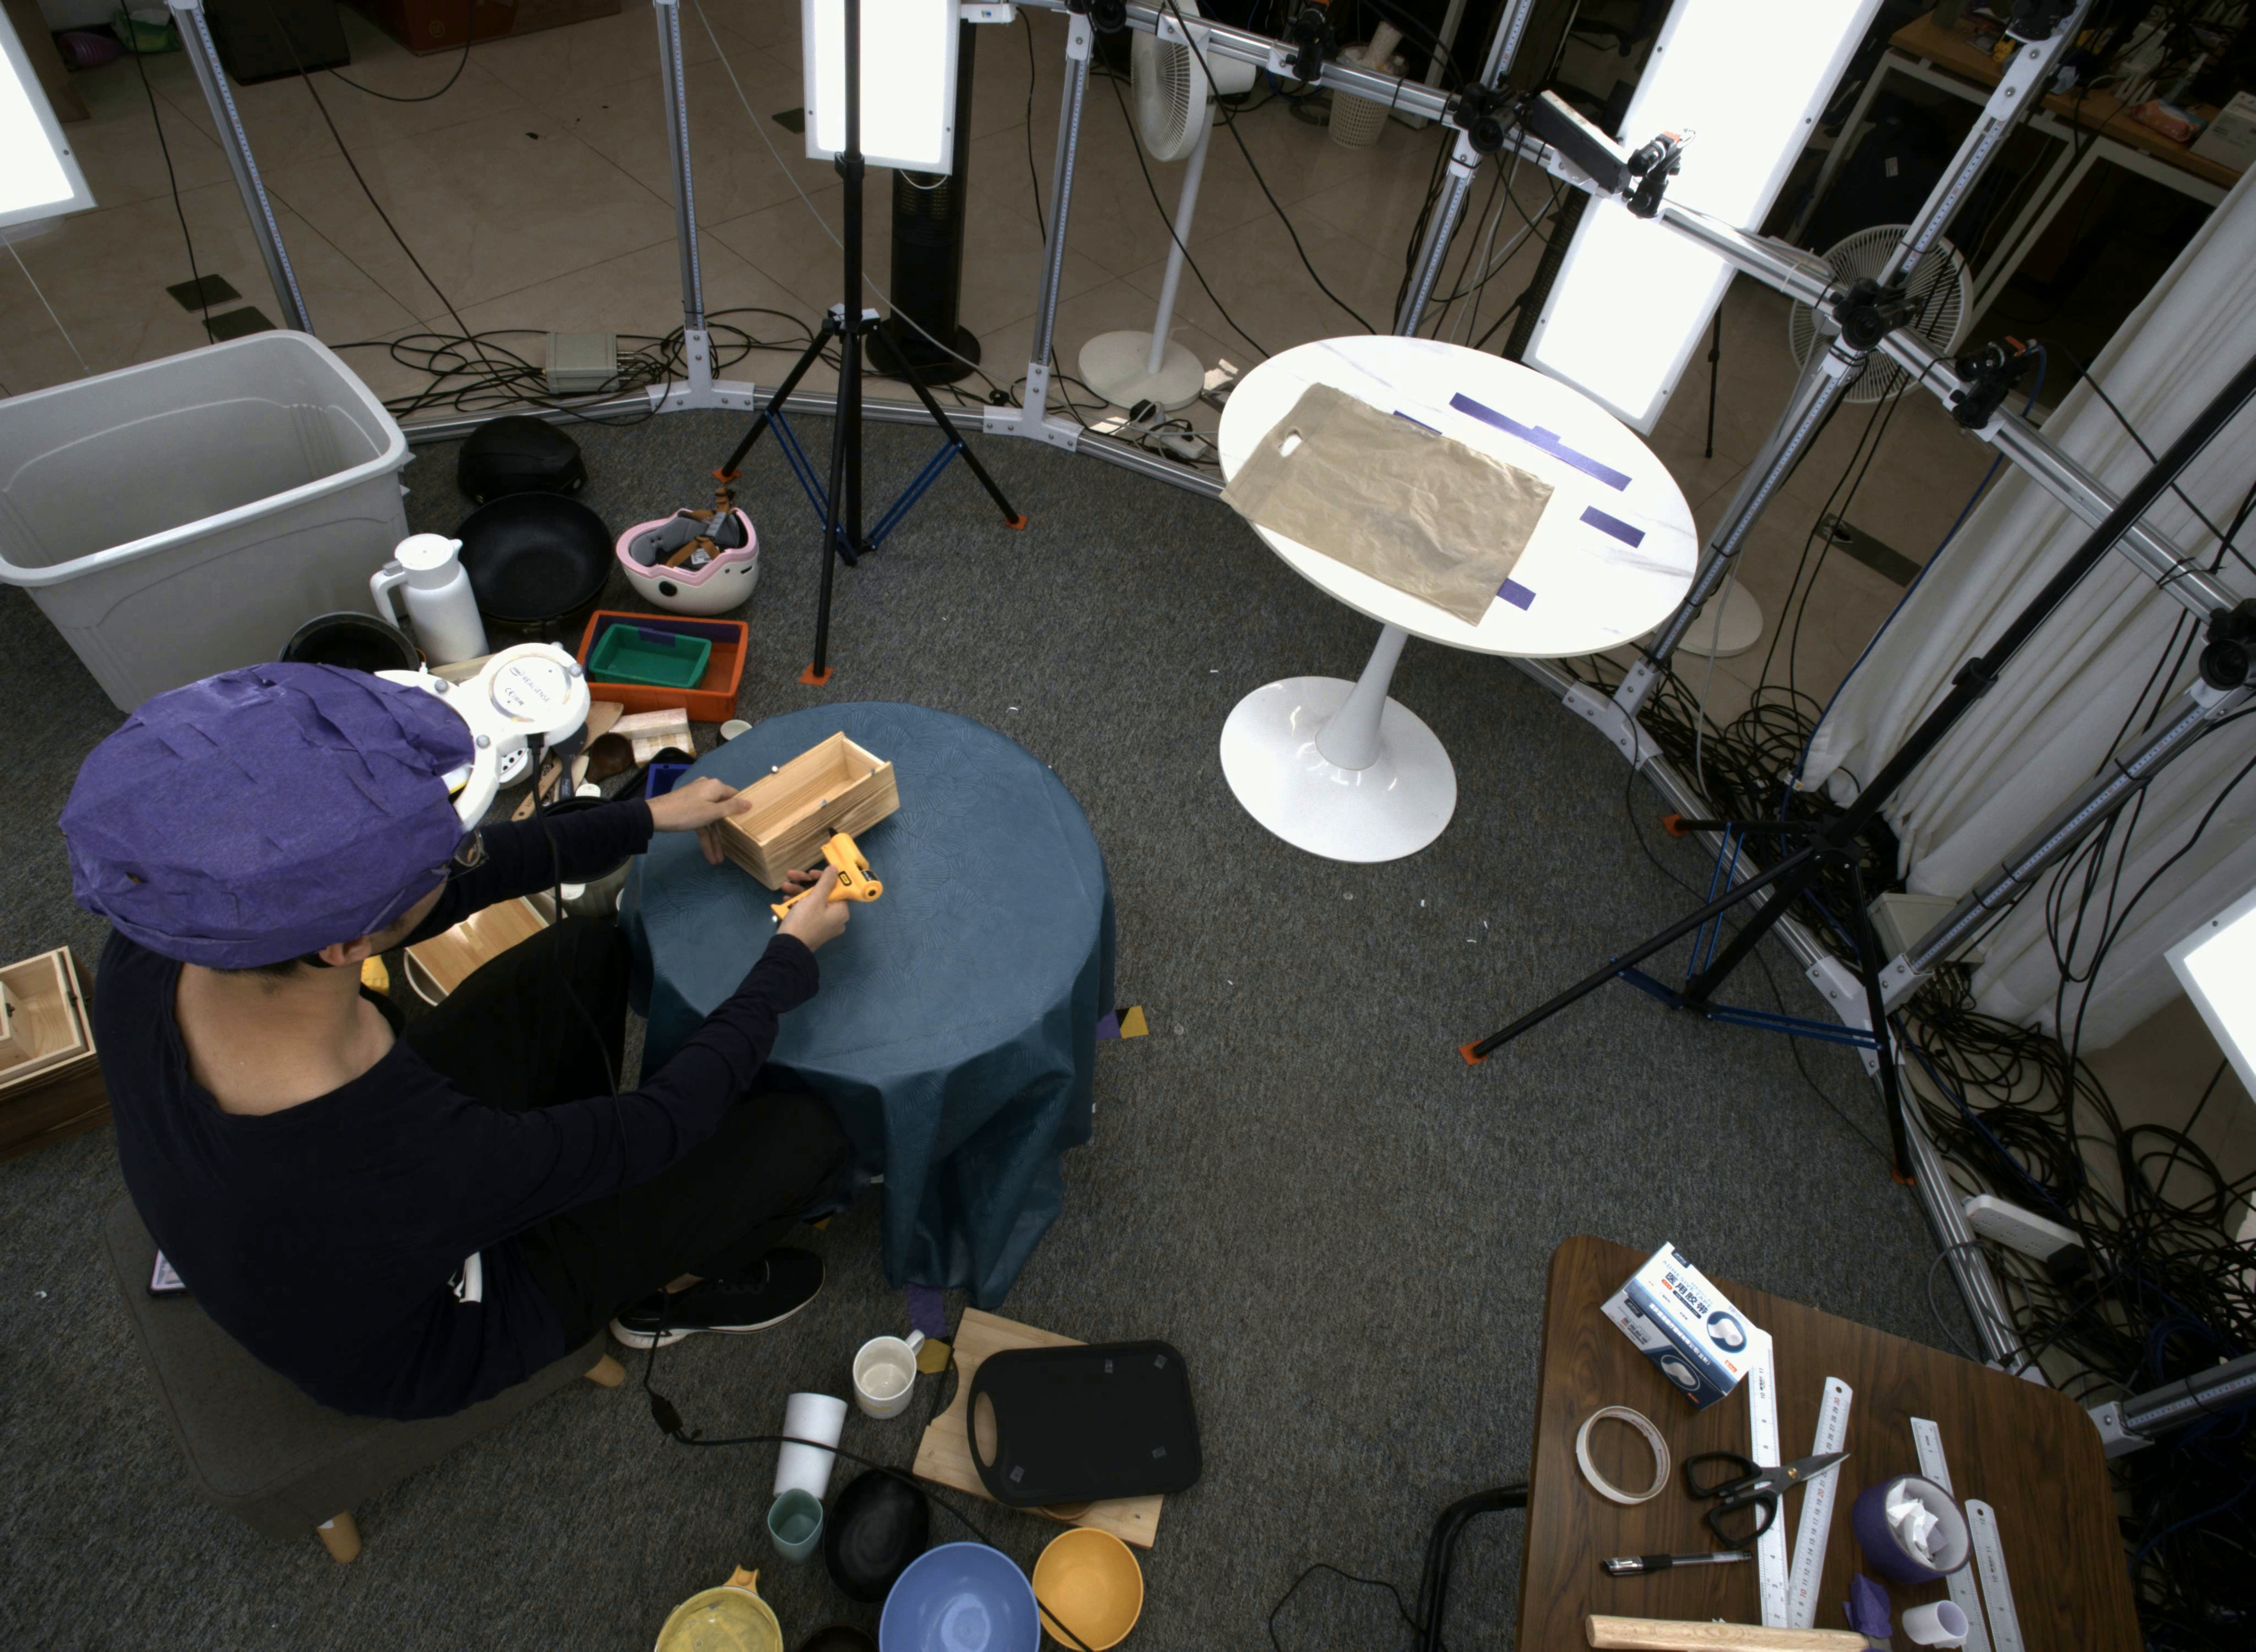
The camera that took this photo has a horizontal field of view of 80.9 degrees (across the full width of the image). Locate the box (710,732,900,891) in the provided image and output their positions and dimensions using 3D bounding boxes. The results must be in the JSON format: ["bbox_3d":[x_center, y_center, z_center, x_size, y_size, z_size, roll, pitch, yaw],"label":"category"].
[{"bbox_3d":[-0.413,-0.024,1.673,0.104,0.083,0.212,31,50,30],"label":"box"}]

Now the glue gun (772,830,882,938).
[{"bbox_3d":[-0.380,0.061,1.584,0.133,0.032,0.146,-25,43,-12],"label":"glue gun"}]
